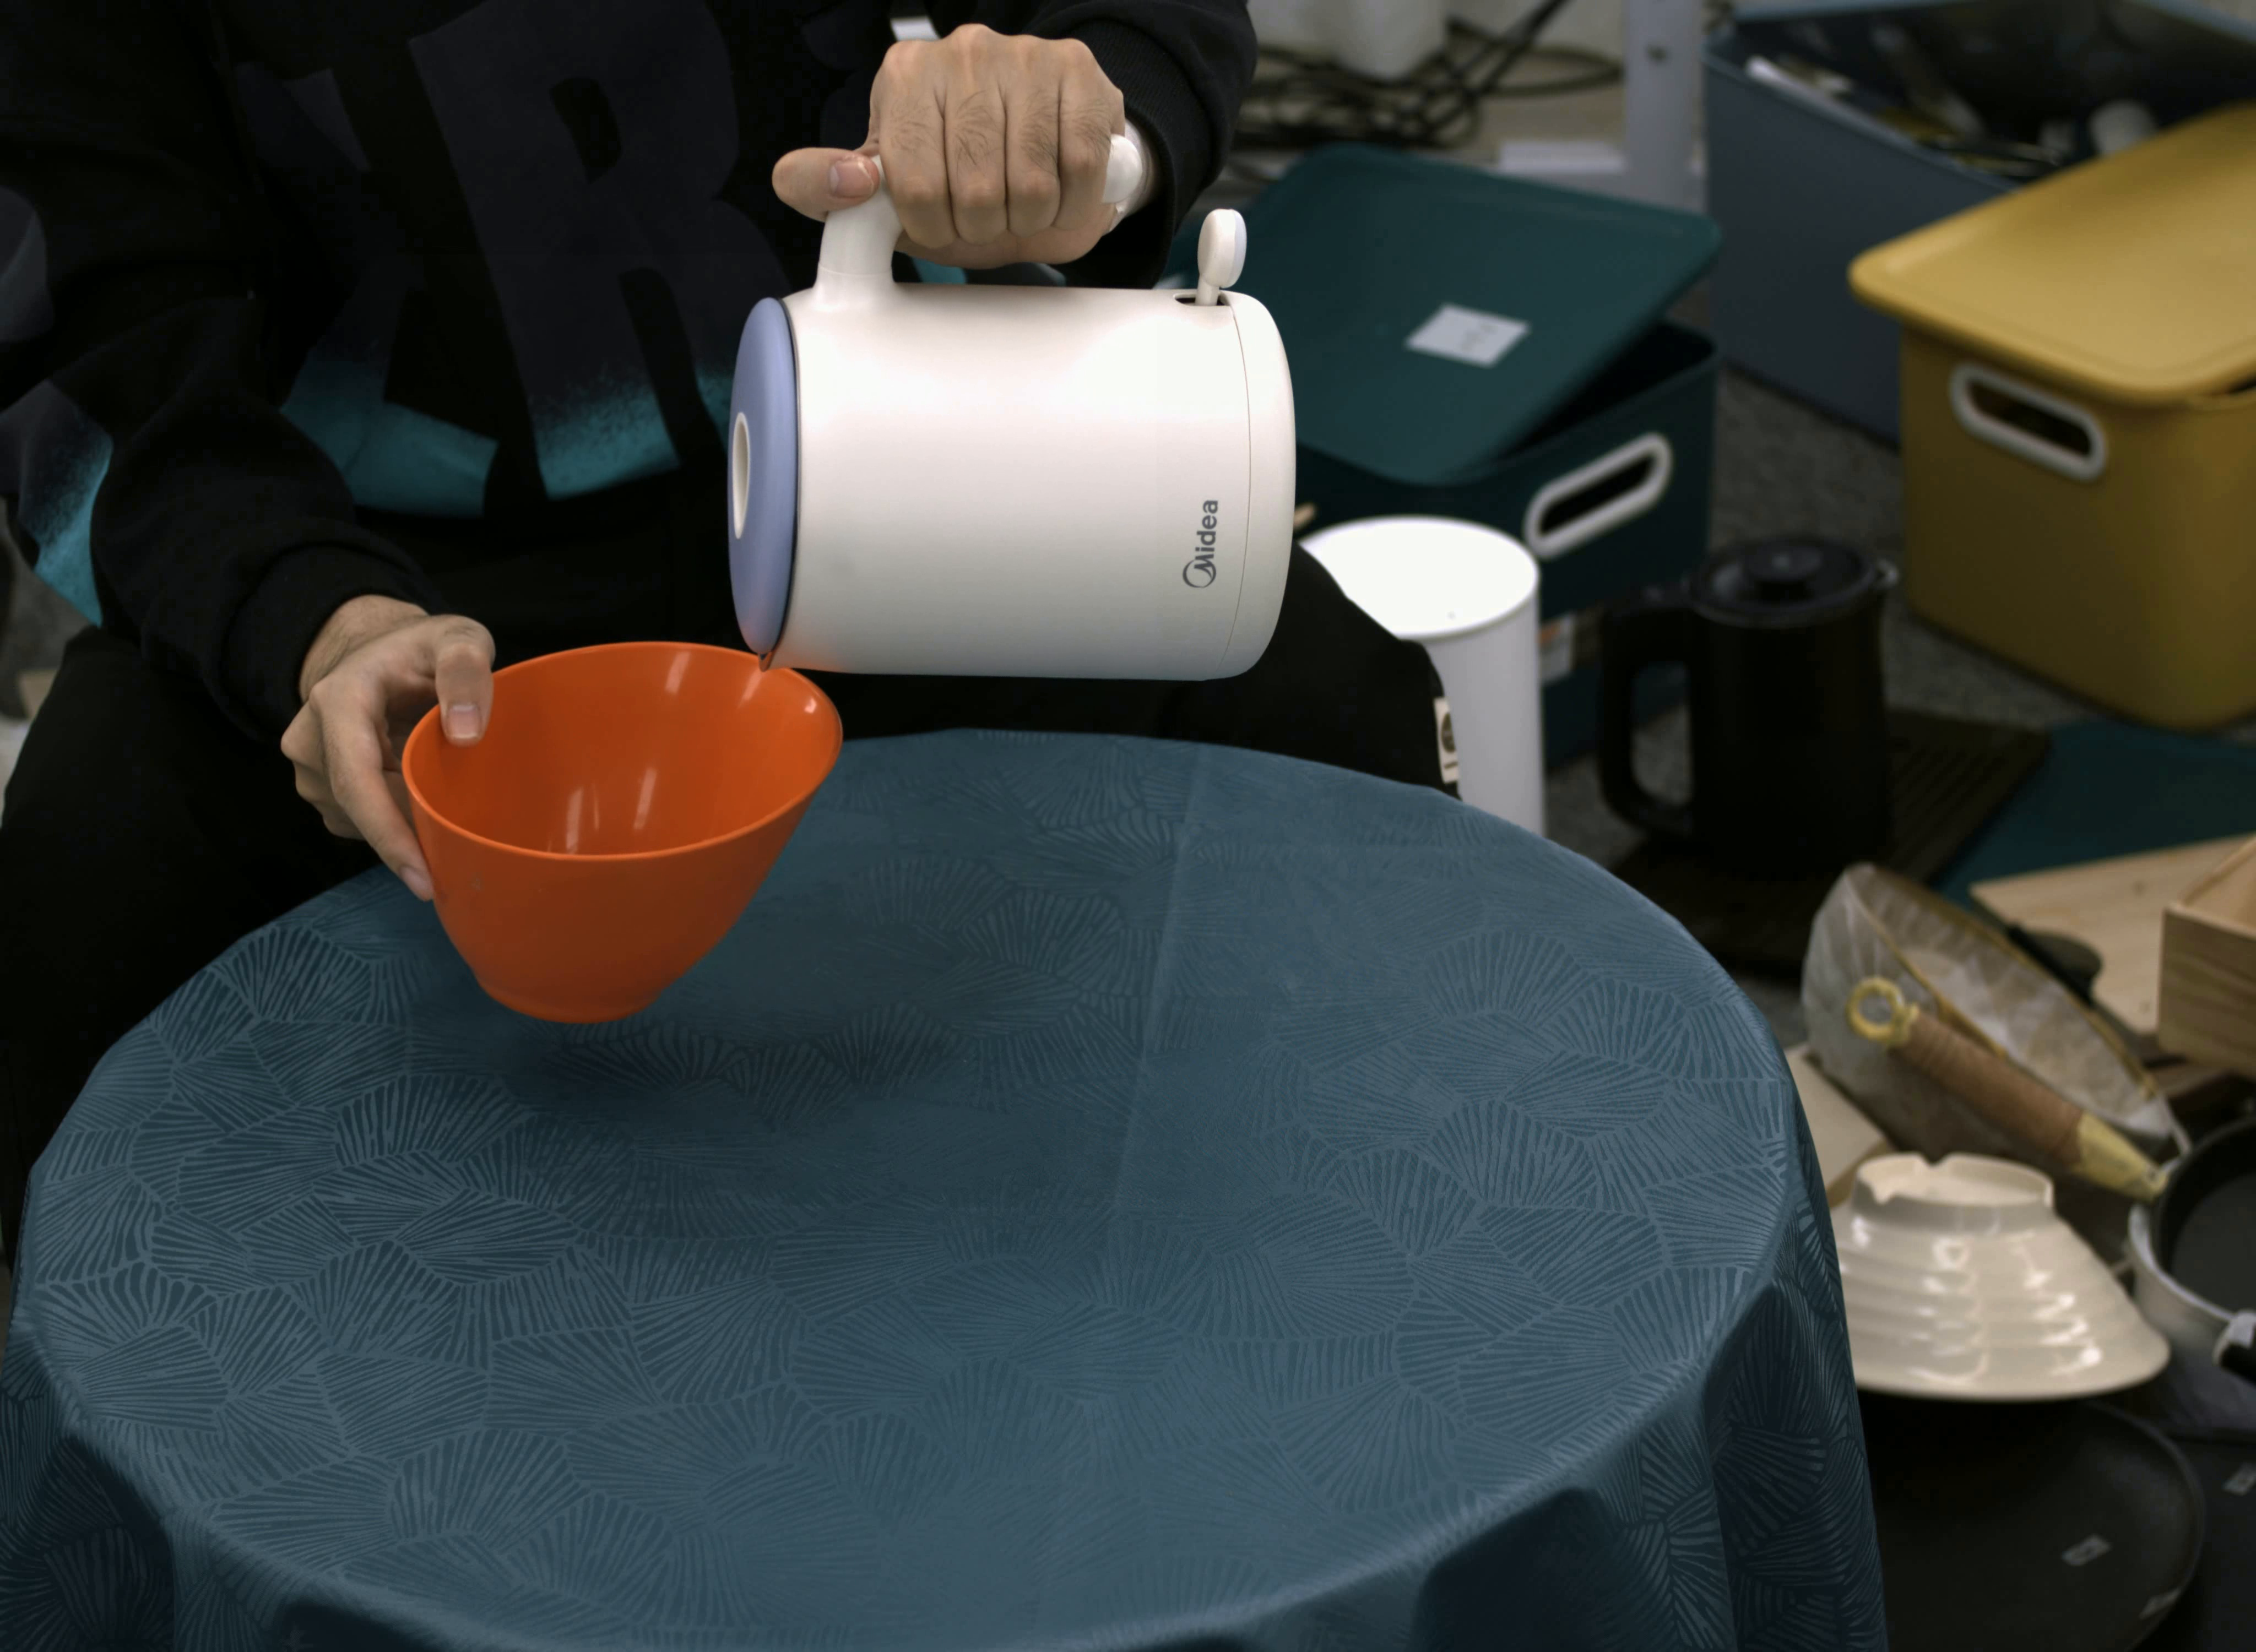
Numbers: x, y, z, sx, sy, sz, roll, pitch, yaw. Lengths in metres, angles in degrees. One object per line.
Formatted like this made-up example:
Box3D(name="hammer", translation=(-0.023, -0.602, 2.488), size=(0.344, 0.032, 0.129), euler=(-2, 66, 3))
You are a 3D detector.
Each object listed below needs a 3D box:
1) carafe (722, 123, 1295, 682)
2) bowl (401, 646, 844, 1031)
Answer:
Box3D(name="carafe", translation=(-0.038, -0.139, 1.872), size=(0.182, 0.190, 0.133), euler=(3, 17, -14))
Box3D(name="bowl", translation=(-0.175, 0.010, 1.911), size=(0.147, 0.103, 0.150), euler=(7, 28, -3))
